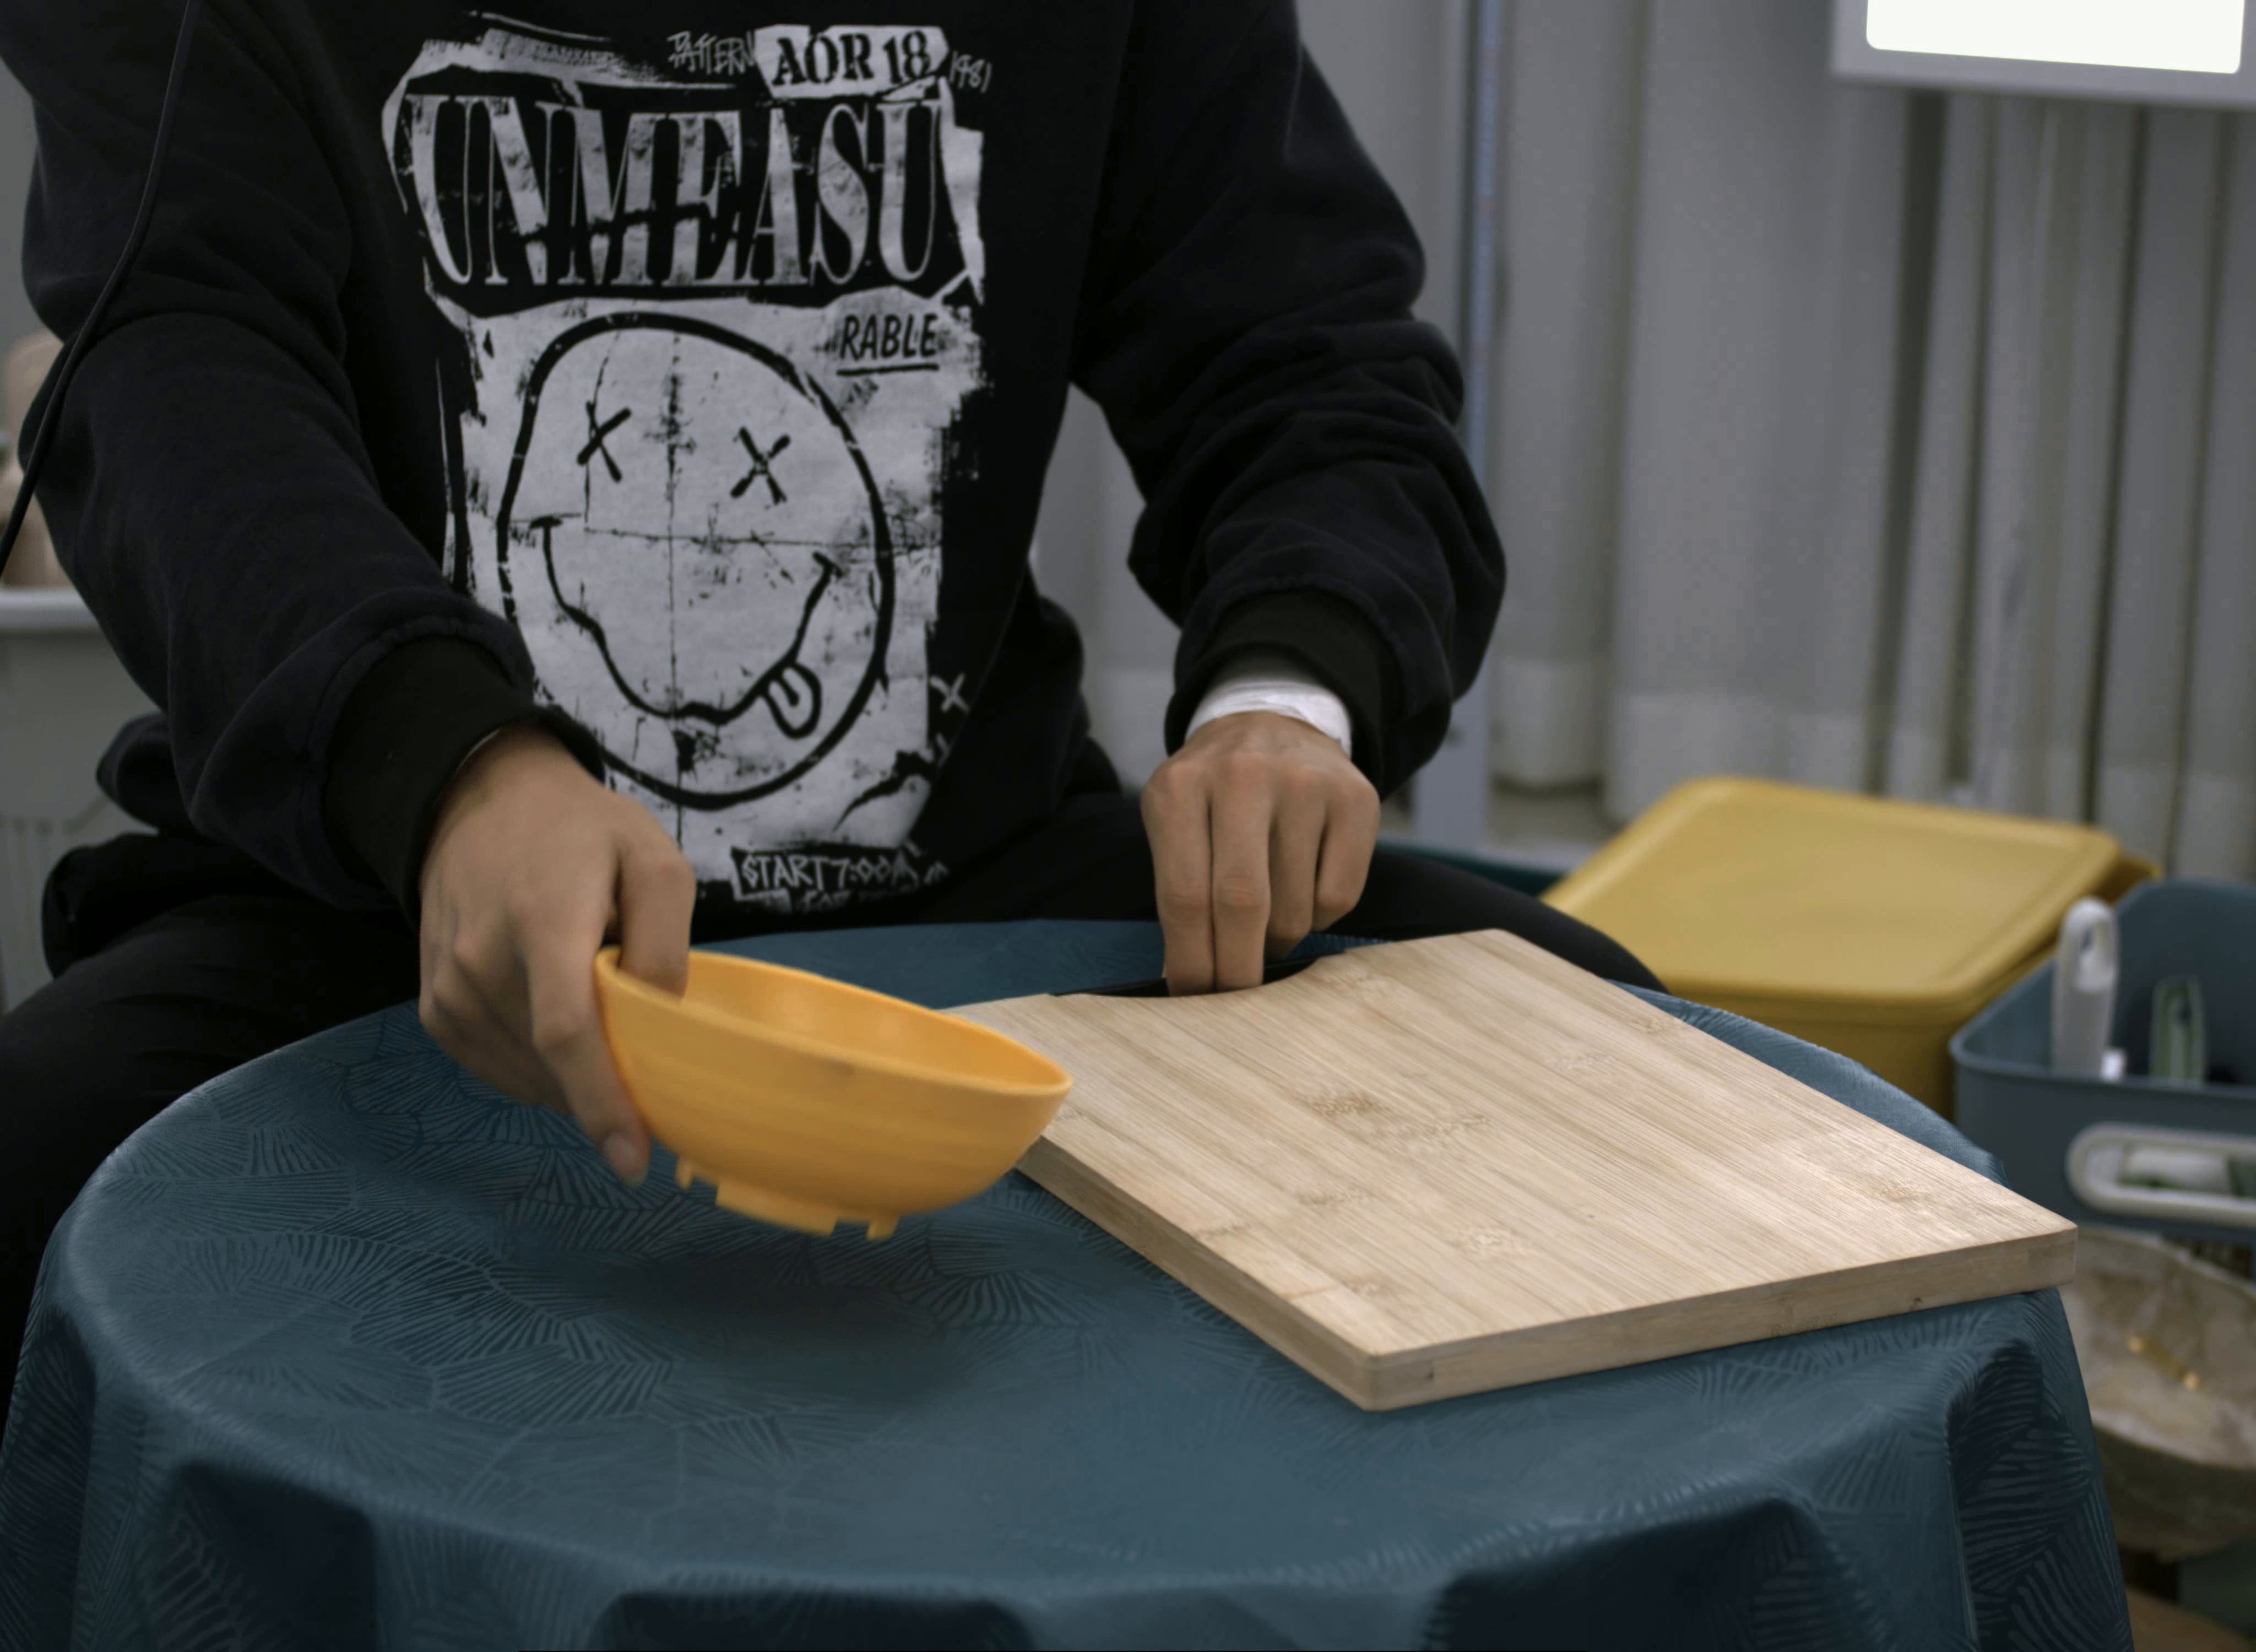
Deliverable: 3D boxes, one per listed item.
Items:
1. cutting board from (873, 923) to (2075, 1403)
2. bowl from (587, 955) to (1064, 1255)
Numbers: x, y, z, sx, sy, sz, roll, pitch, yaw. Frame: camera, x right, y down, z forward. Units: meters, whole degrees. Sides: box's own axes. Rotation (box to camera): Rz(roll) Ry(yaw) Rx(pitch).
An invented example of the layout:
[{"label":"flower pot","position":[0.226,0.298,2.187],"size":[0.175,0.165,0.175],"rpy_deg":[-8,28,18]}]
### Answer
[{"label":"cutting board","position":[0.097,0.098,1.650],"size":[0.252,0.024,0.344],"rpy_deg":[-7,18,-27]},{"label":"bowl","position":[-0.095,0.087,1.535],"size":[0.145,0.060,0.145],"rpy_deg":[16,5,-1]}]
